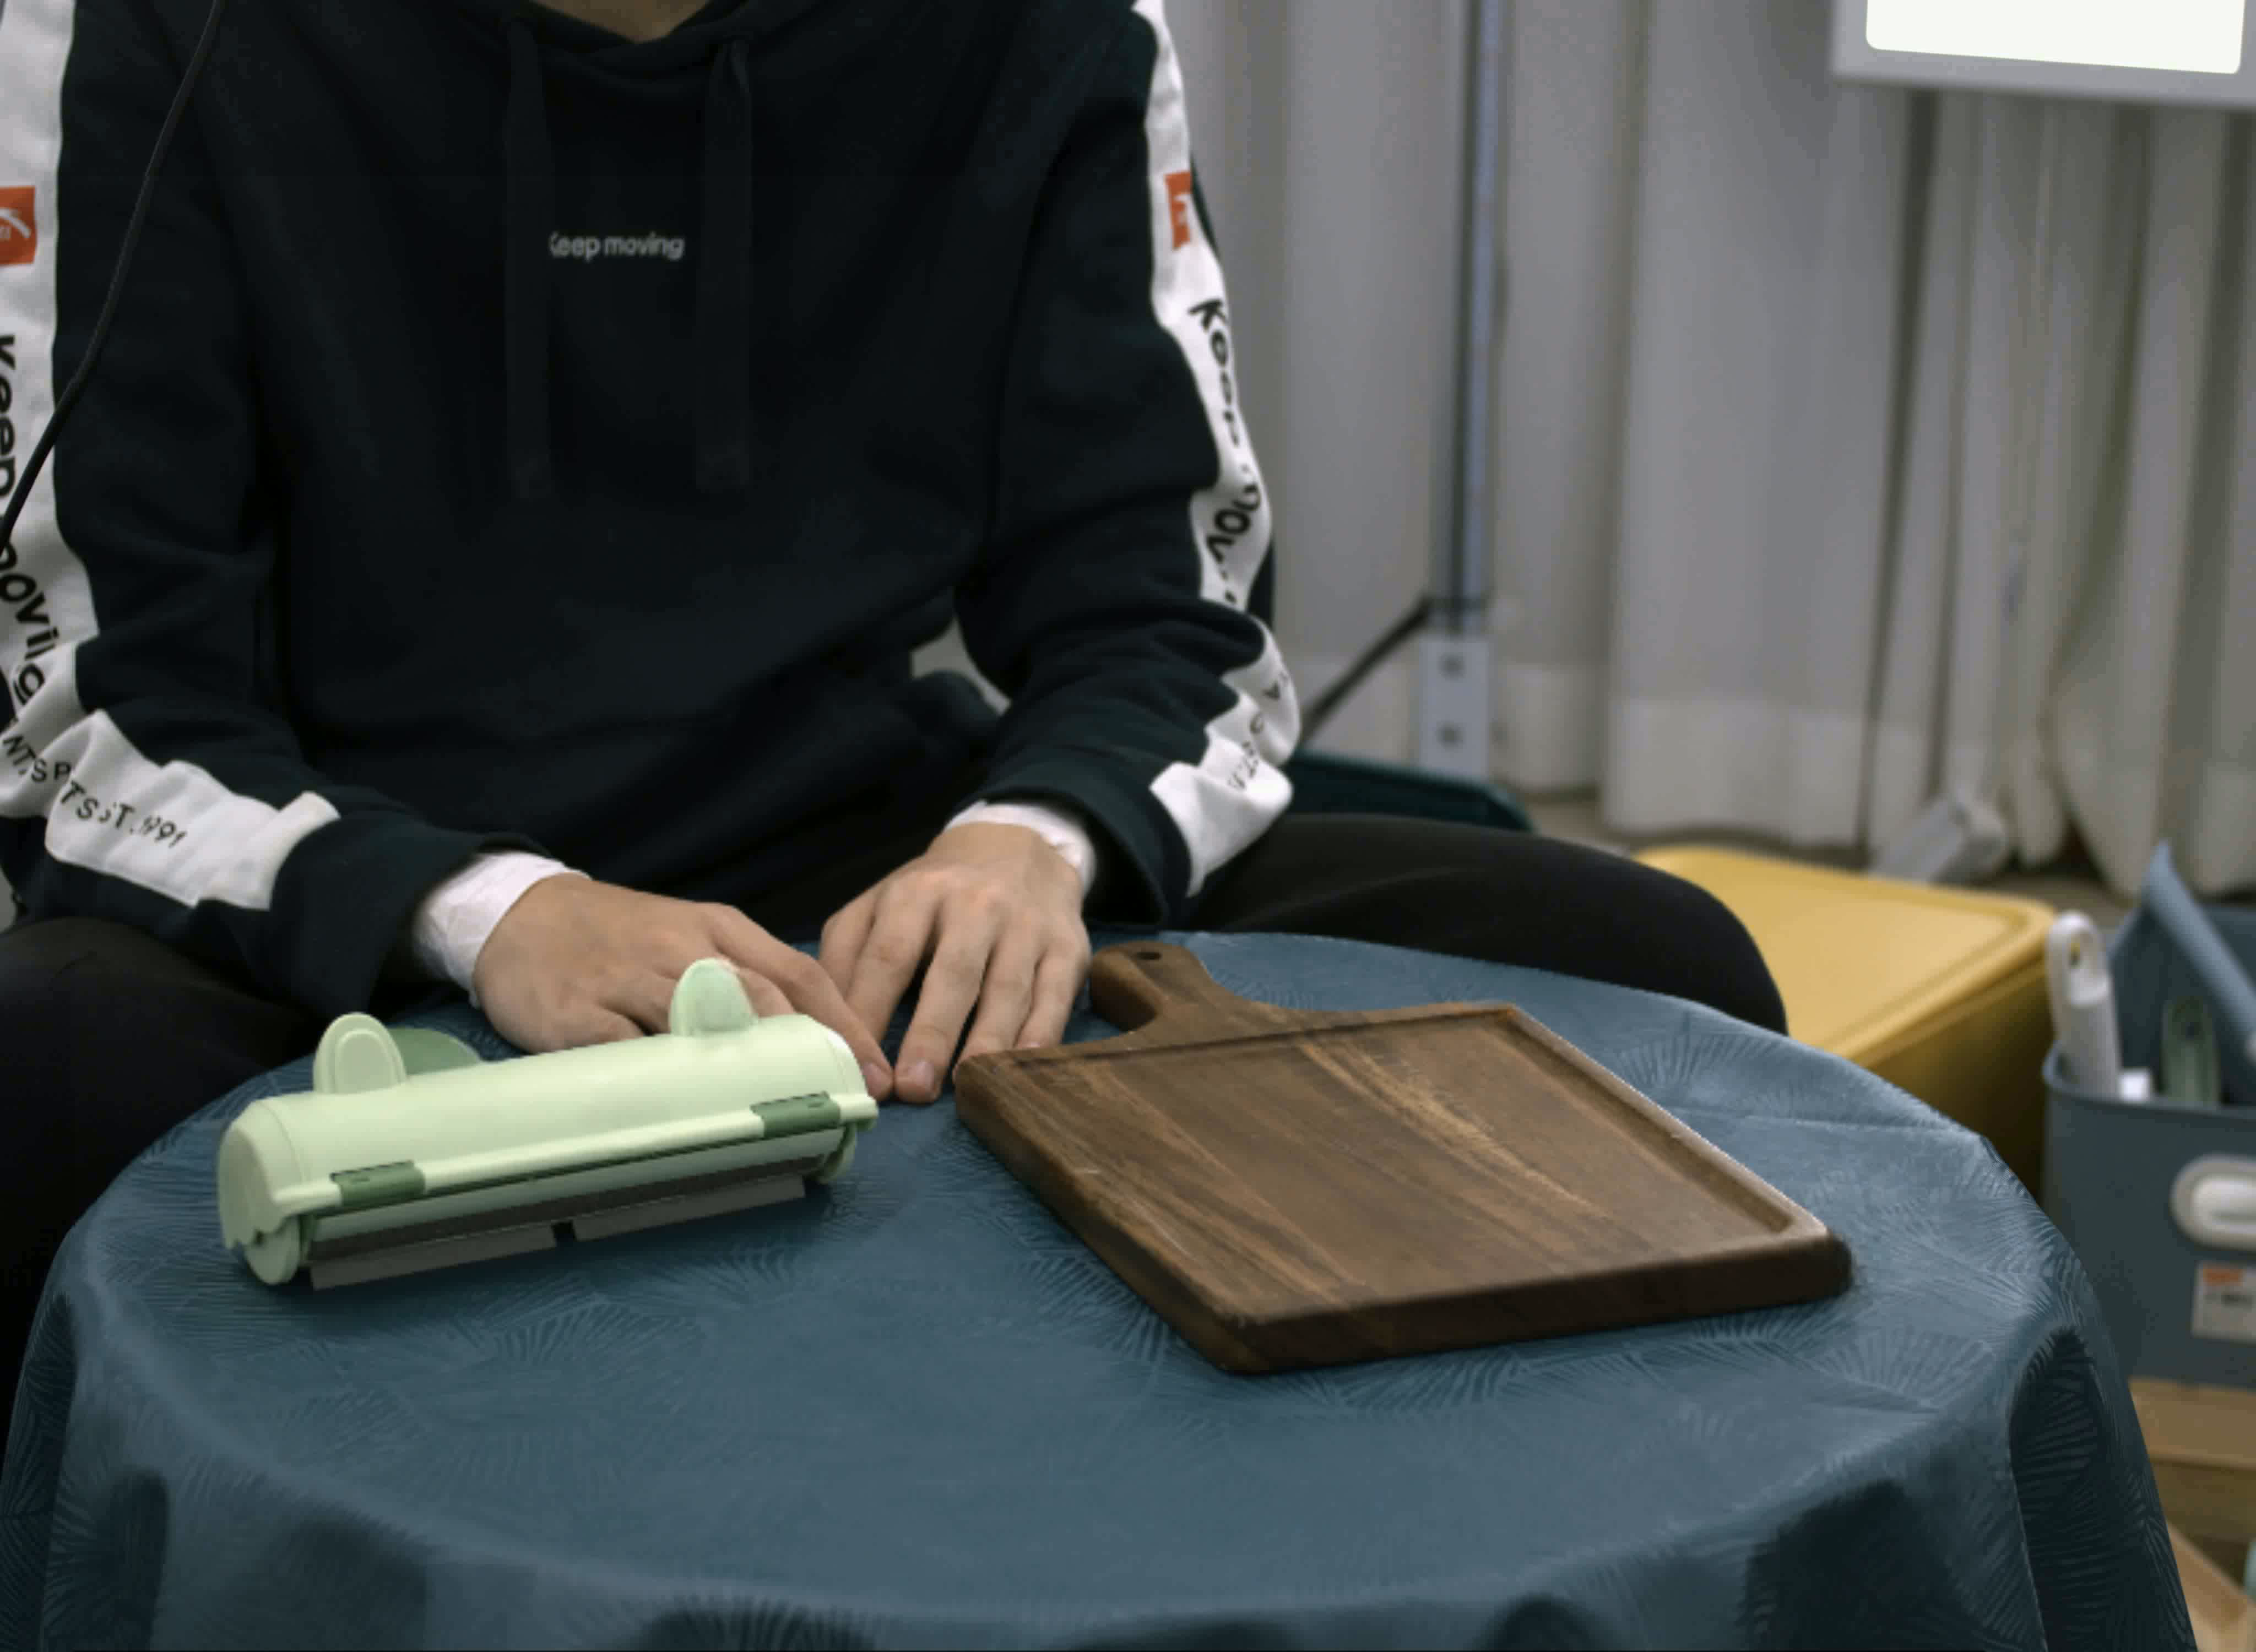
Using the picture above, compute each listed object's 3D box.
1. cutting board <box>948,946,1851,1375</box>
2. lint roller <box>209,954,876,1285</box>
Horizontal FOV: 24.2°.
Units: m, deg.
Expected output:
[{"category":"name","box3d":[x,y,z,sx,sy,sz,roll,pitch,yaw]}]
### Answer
[{"category":"cutting board","box3d":[0.060,0.094,1.651,0.201,0.023,0.348,-5,16,-20]},{"category":"lint roller","box3d":[-0.201,0.072,1.614,0.199,0.083,0.181,-9,22,-29]}]
